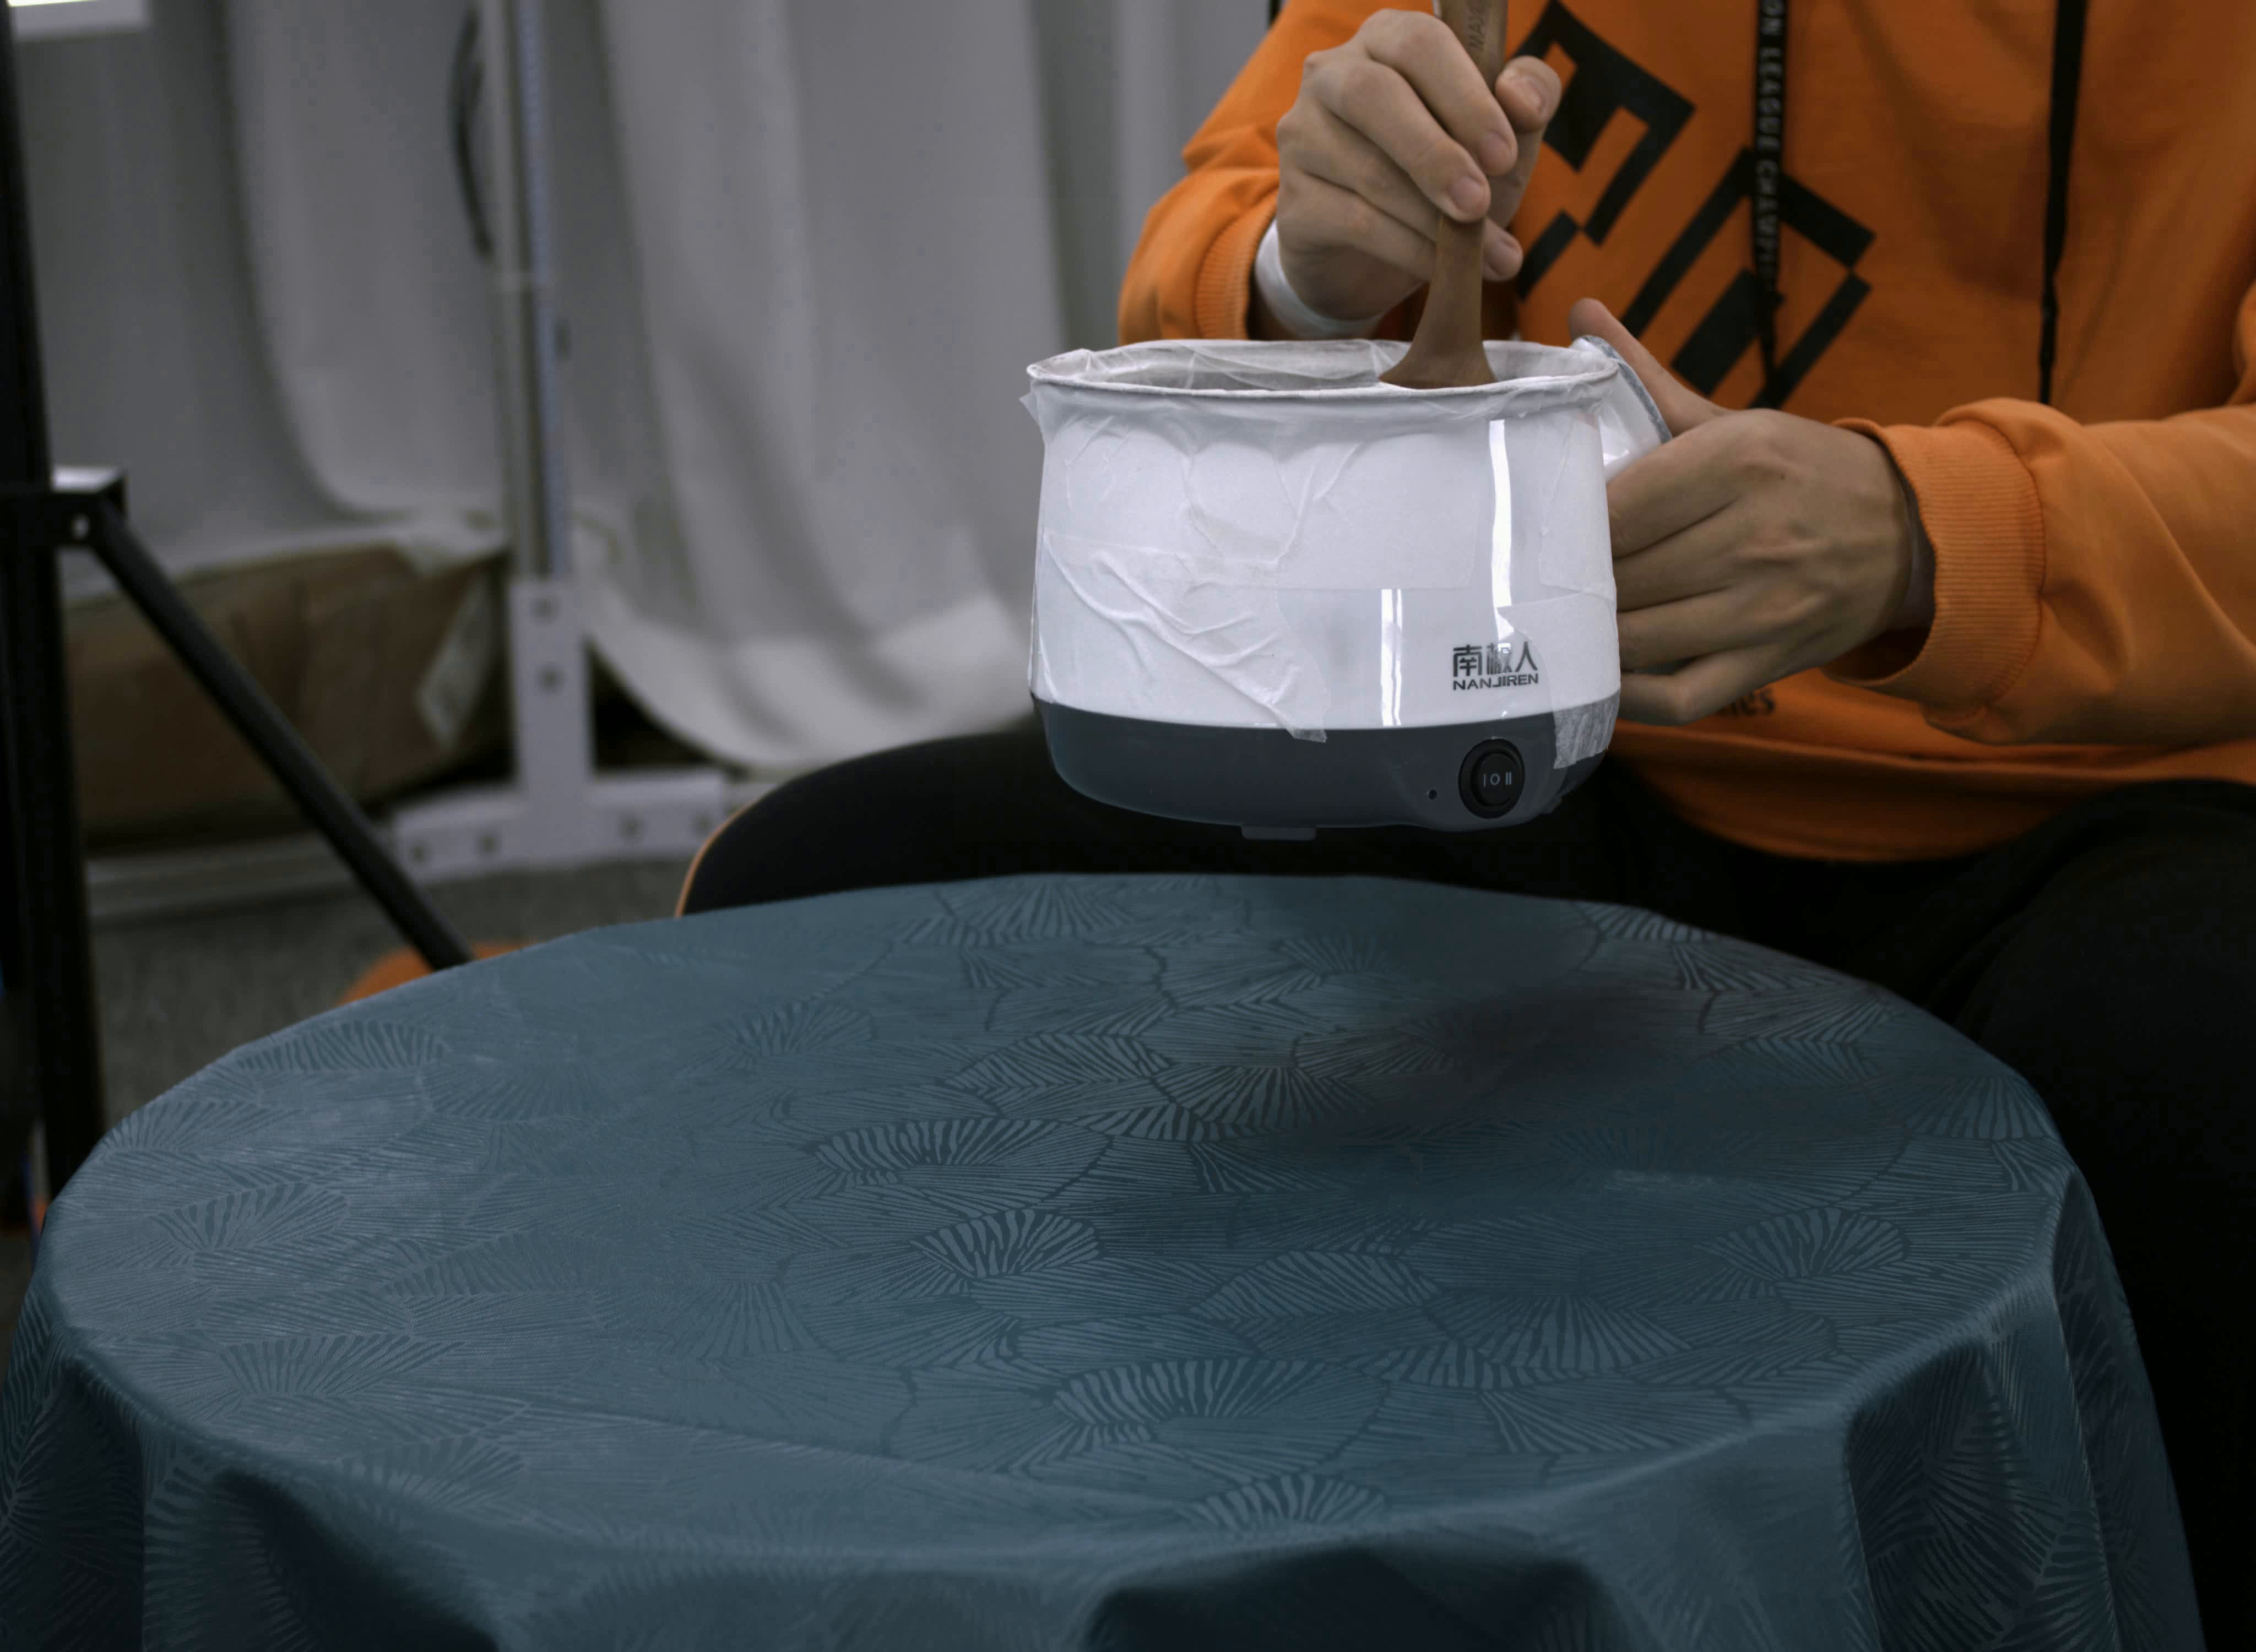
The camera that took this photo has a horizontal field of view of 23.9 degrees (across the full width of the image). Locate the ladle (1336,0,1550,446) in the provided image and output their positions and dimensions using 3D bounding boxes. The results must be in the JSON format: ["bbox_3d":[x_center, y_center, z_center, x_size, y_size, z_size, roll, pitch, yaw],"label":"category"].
[{"bbox_3d":[0.103,-0.196,1.625,0.075,0.065,0.262,13,56,-11],"label":"ladle"}]

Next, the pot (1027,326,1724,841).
[{"bbox_3d":[0.081,-0.078,1.604,0.228,0.137,0.182,-7,12,-32],"label":"pot"}]
